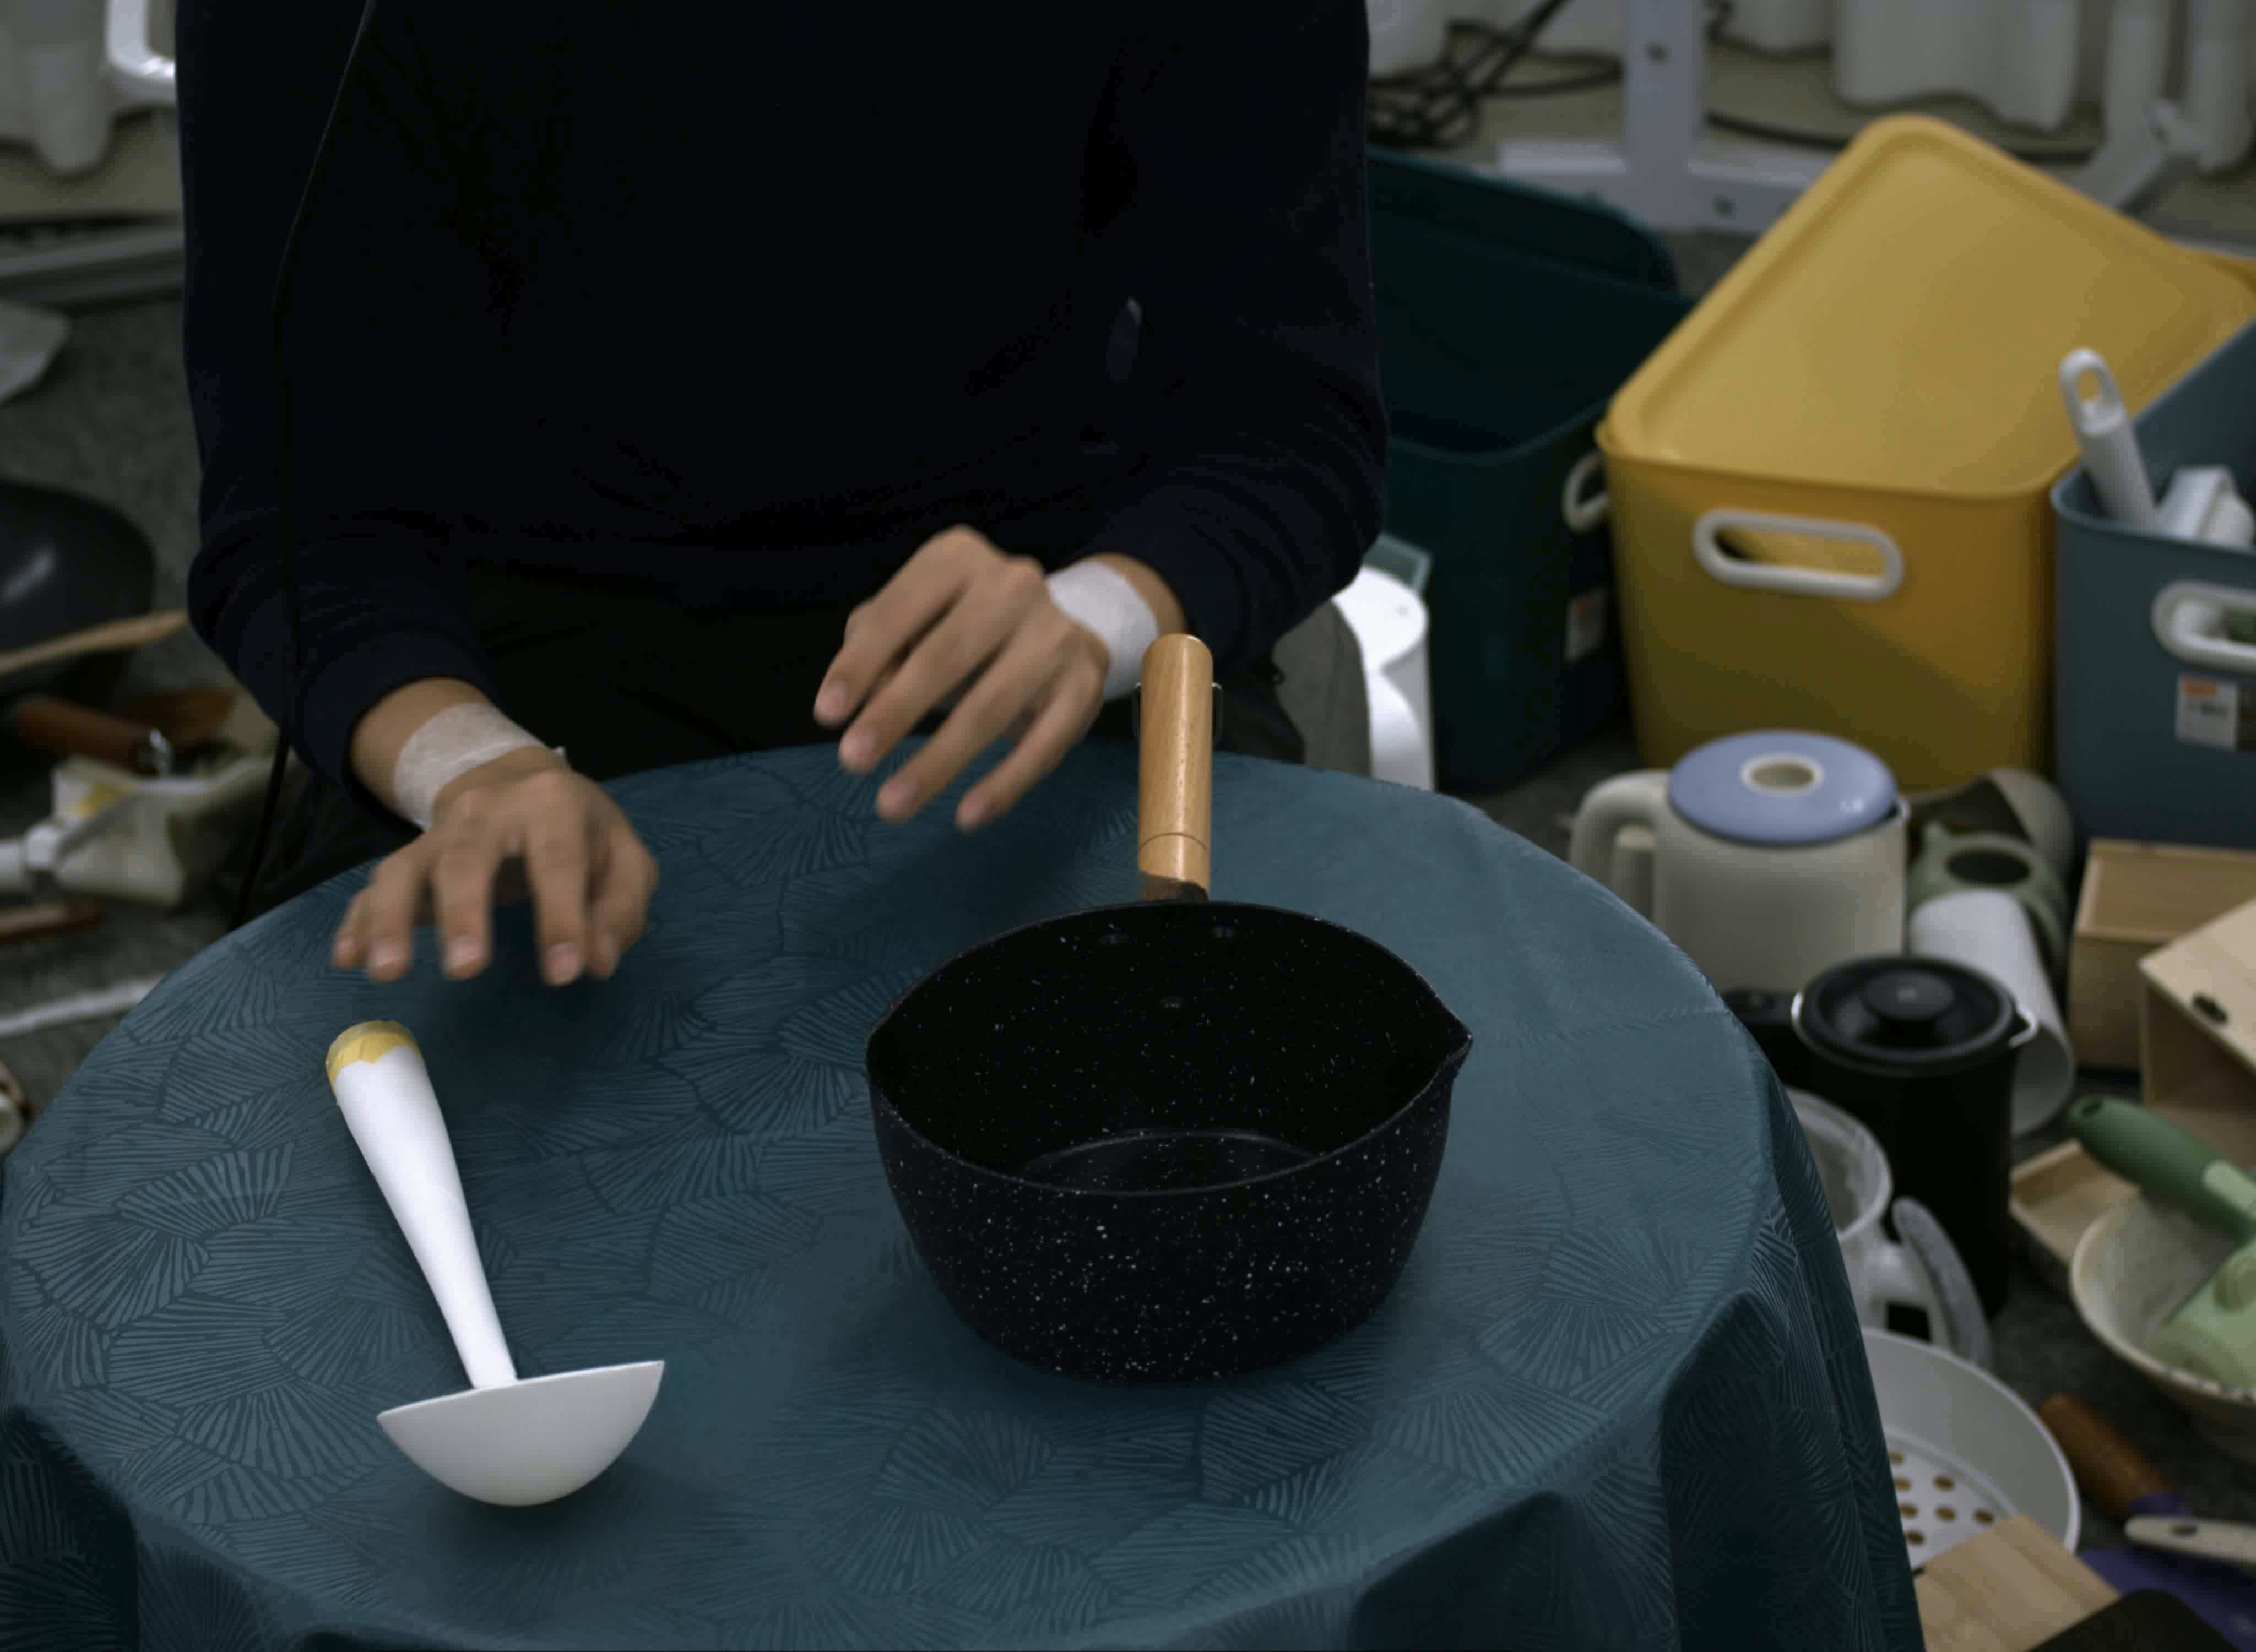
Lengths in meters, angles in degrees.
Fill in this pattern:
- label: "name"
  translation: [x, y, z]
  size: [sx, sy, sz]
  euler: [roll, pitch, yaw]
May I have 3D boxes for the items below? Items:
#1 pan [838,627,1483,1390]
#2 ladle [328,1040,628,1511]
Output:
- label: "pan"
  translation: [0.012, 0.057, 1.870]
  size: [0.206, 0.107, 0.348]
  euler: [-3, 29, 2]
- label: "ladle"
  translation: [-0.223, 0.132, 1.797]
  size: [0.090, 0.069, 0.296]
  euler: [-15, 28, -10]
